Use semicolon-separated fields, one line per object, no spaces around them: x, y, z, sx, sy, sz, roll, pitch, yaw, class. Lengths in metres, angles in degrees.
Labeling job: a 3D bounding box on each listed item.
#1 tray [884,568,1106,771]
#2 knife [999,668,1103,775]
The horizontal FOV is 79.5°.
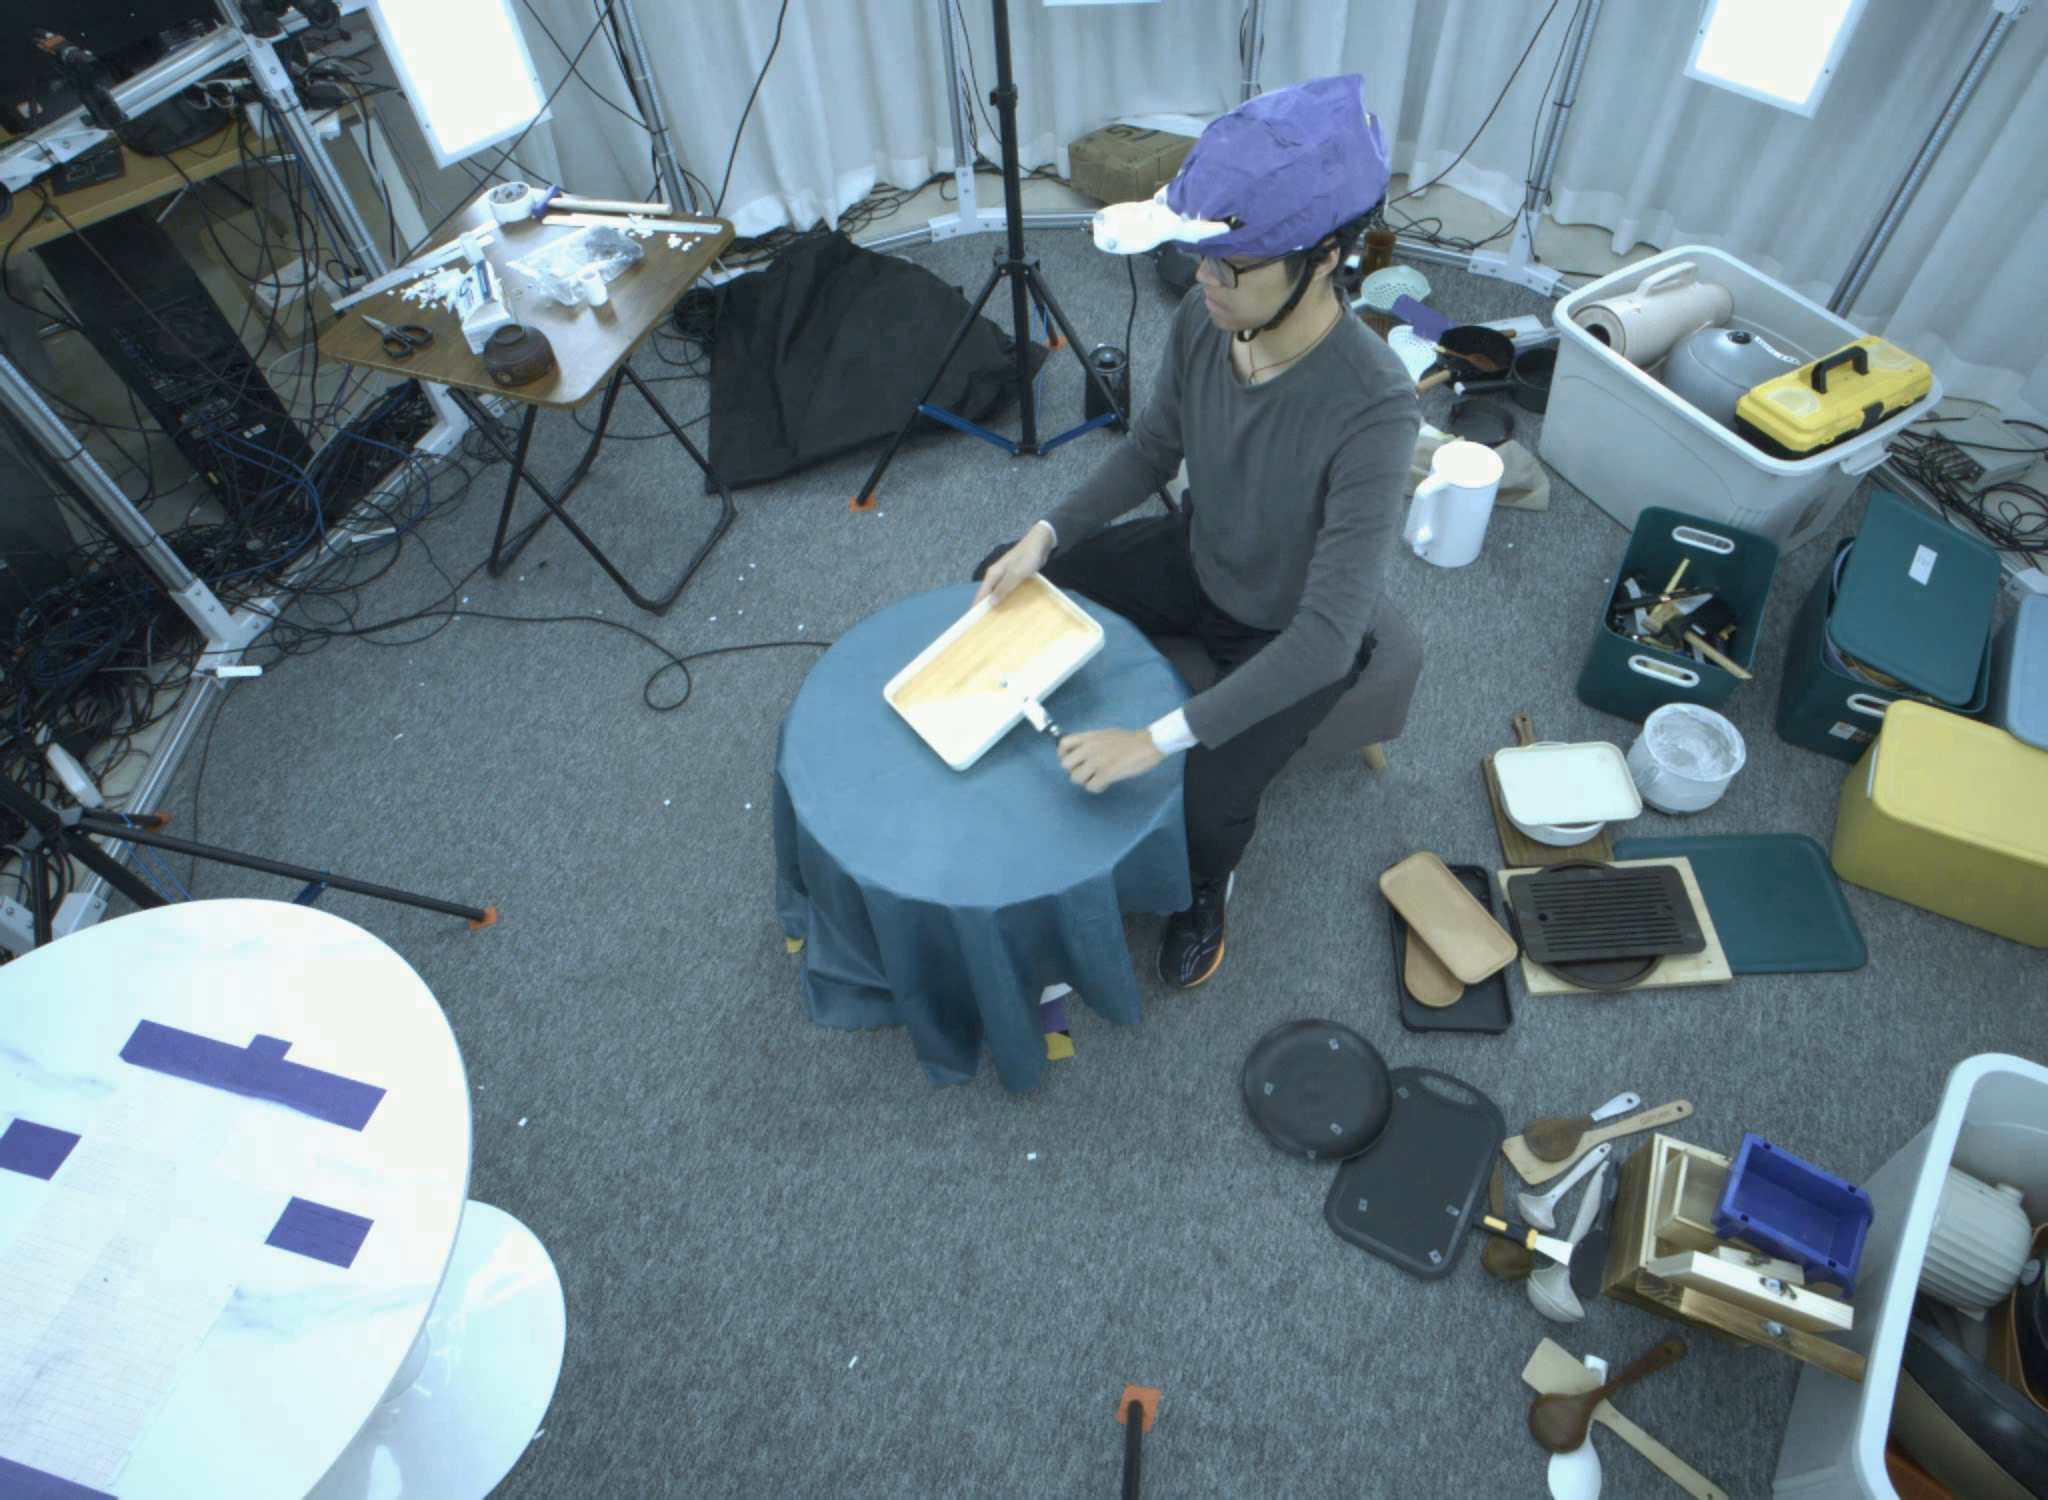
-0.044;-0.123;1.822;0.301;0.028;0.188;-42;63;-7;tray
0.036;-0.047;1.749;0.024;0.016;0.233;-40;62;-5;knife
